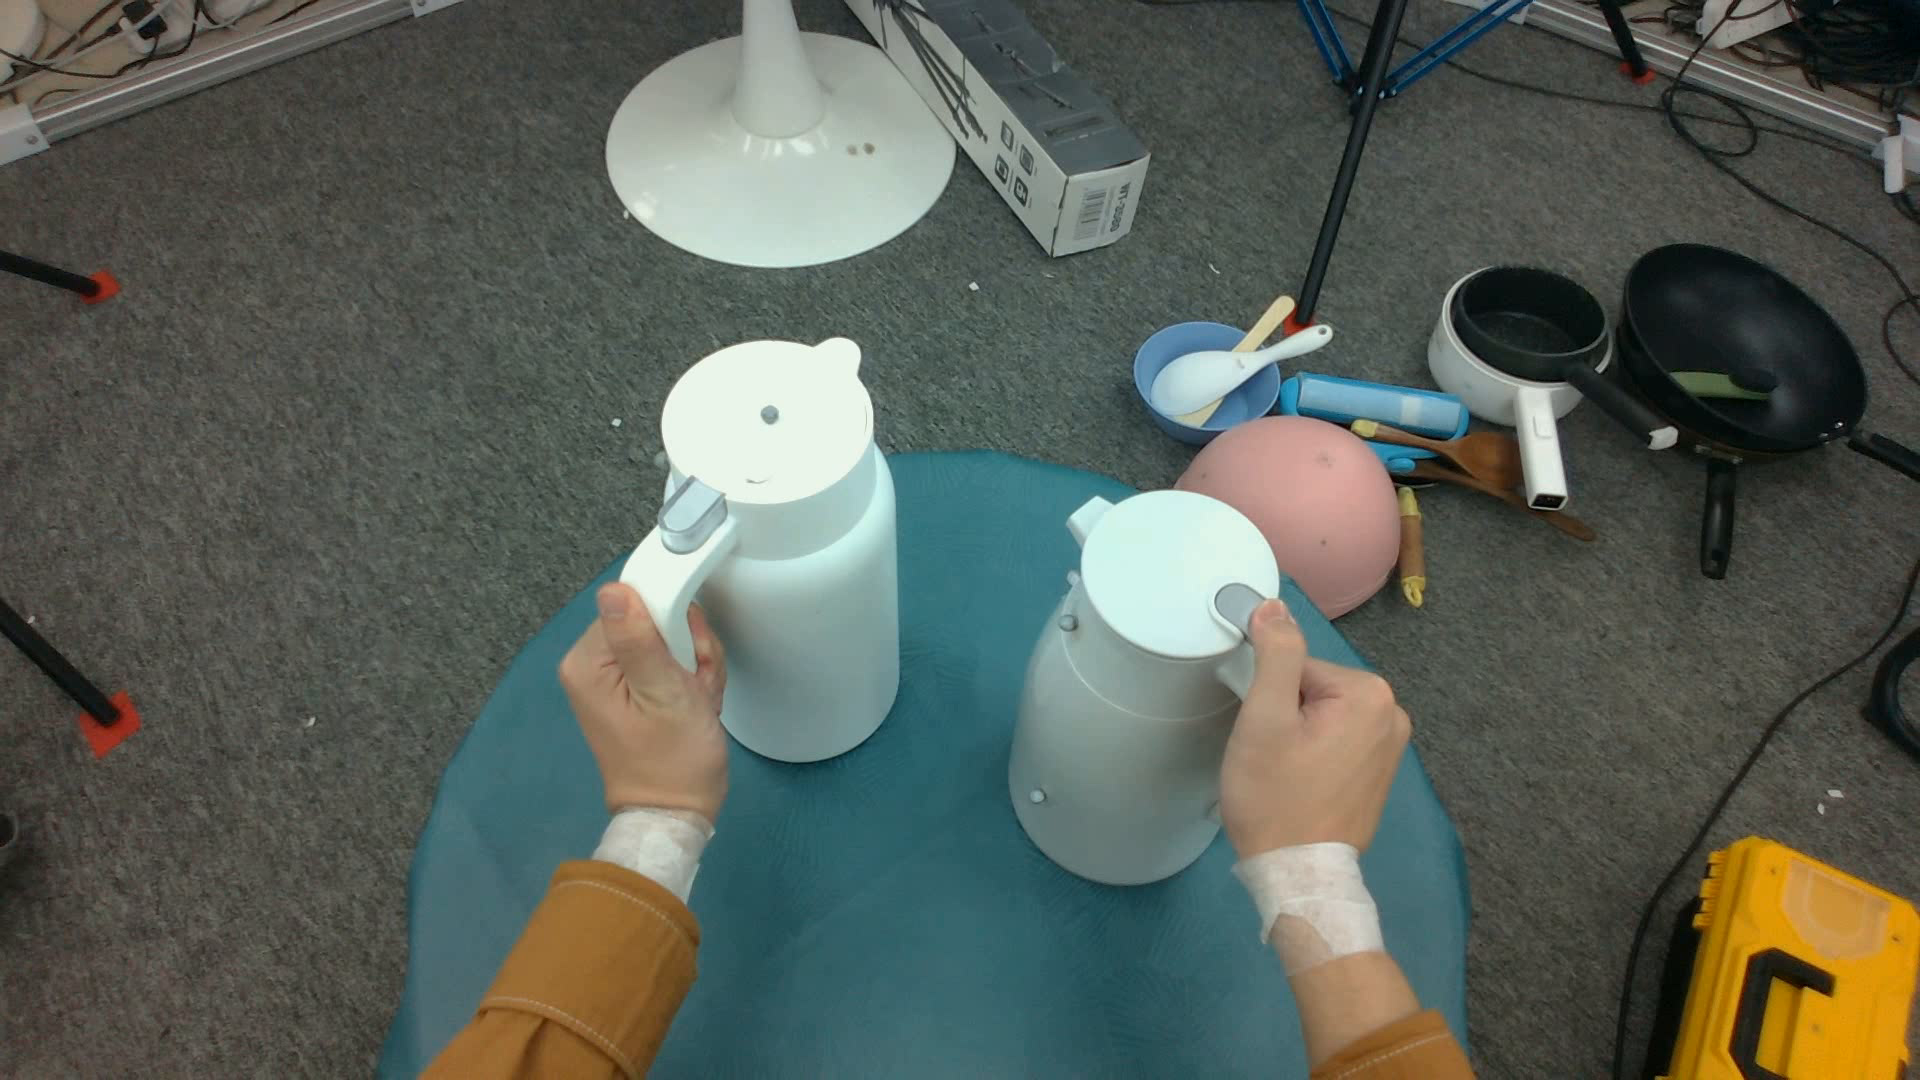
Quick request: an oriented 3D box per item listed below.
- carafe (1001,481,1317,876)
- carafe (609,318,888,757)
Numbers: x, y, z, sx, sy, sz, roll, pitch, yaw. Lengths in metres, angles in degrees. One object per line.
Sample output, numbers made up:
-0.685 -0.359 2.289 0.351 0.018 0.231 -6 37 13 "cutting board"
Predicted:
0.107 0.084 0.721 0.133 0.247 0.168 -38 66 -24 "carafe"
-0.106 0.024 0.739 0.124 0.267 0.173 28 59 13 "carafe"
